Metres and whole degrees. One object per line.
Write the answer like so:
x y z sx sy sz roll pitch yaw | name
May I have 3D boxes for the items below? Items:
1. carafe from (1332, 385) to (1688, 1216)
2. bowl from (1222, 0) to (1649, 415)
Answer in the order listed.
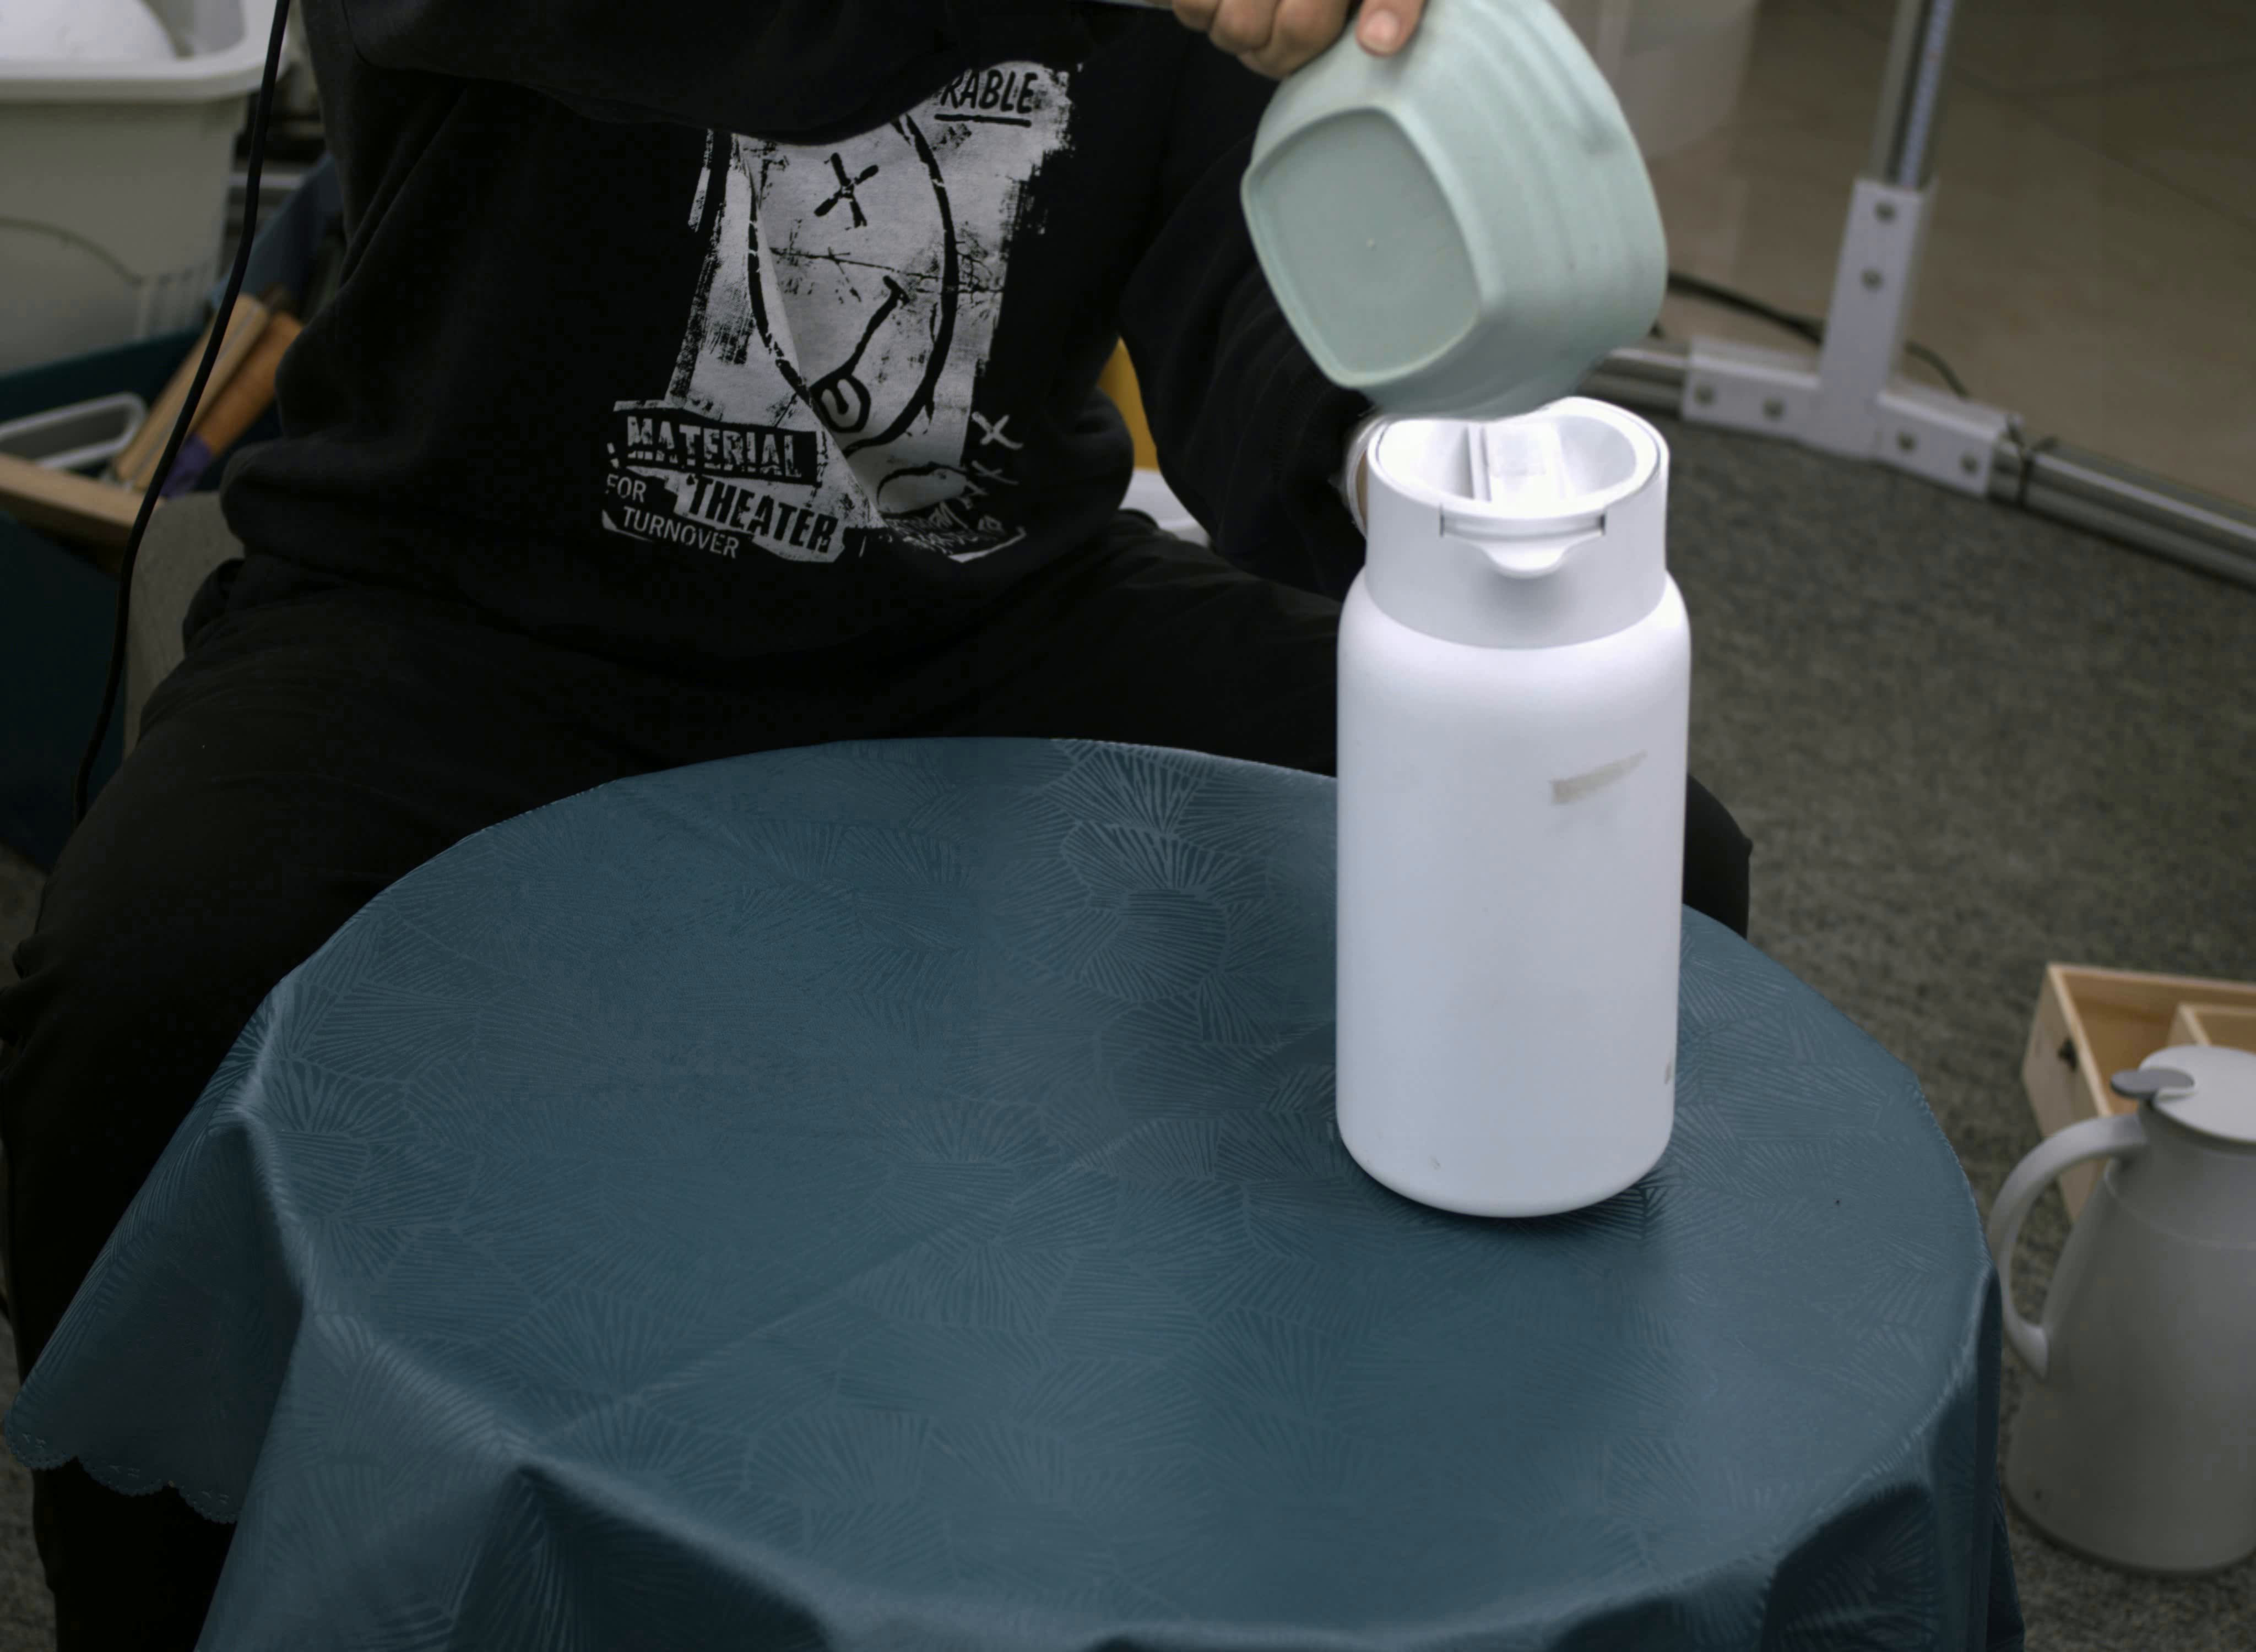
0.126 -0.016 1.804 0.123 0.268 0.174 -3 29 1 | carafe
0.084 -0.188 1.636 0.152 0.151 0.058 26 38 33 | bowl
